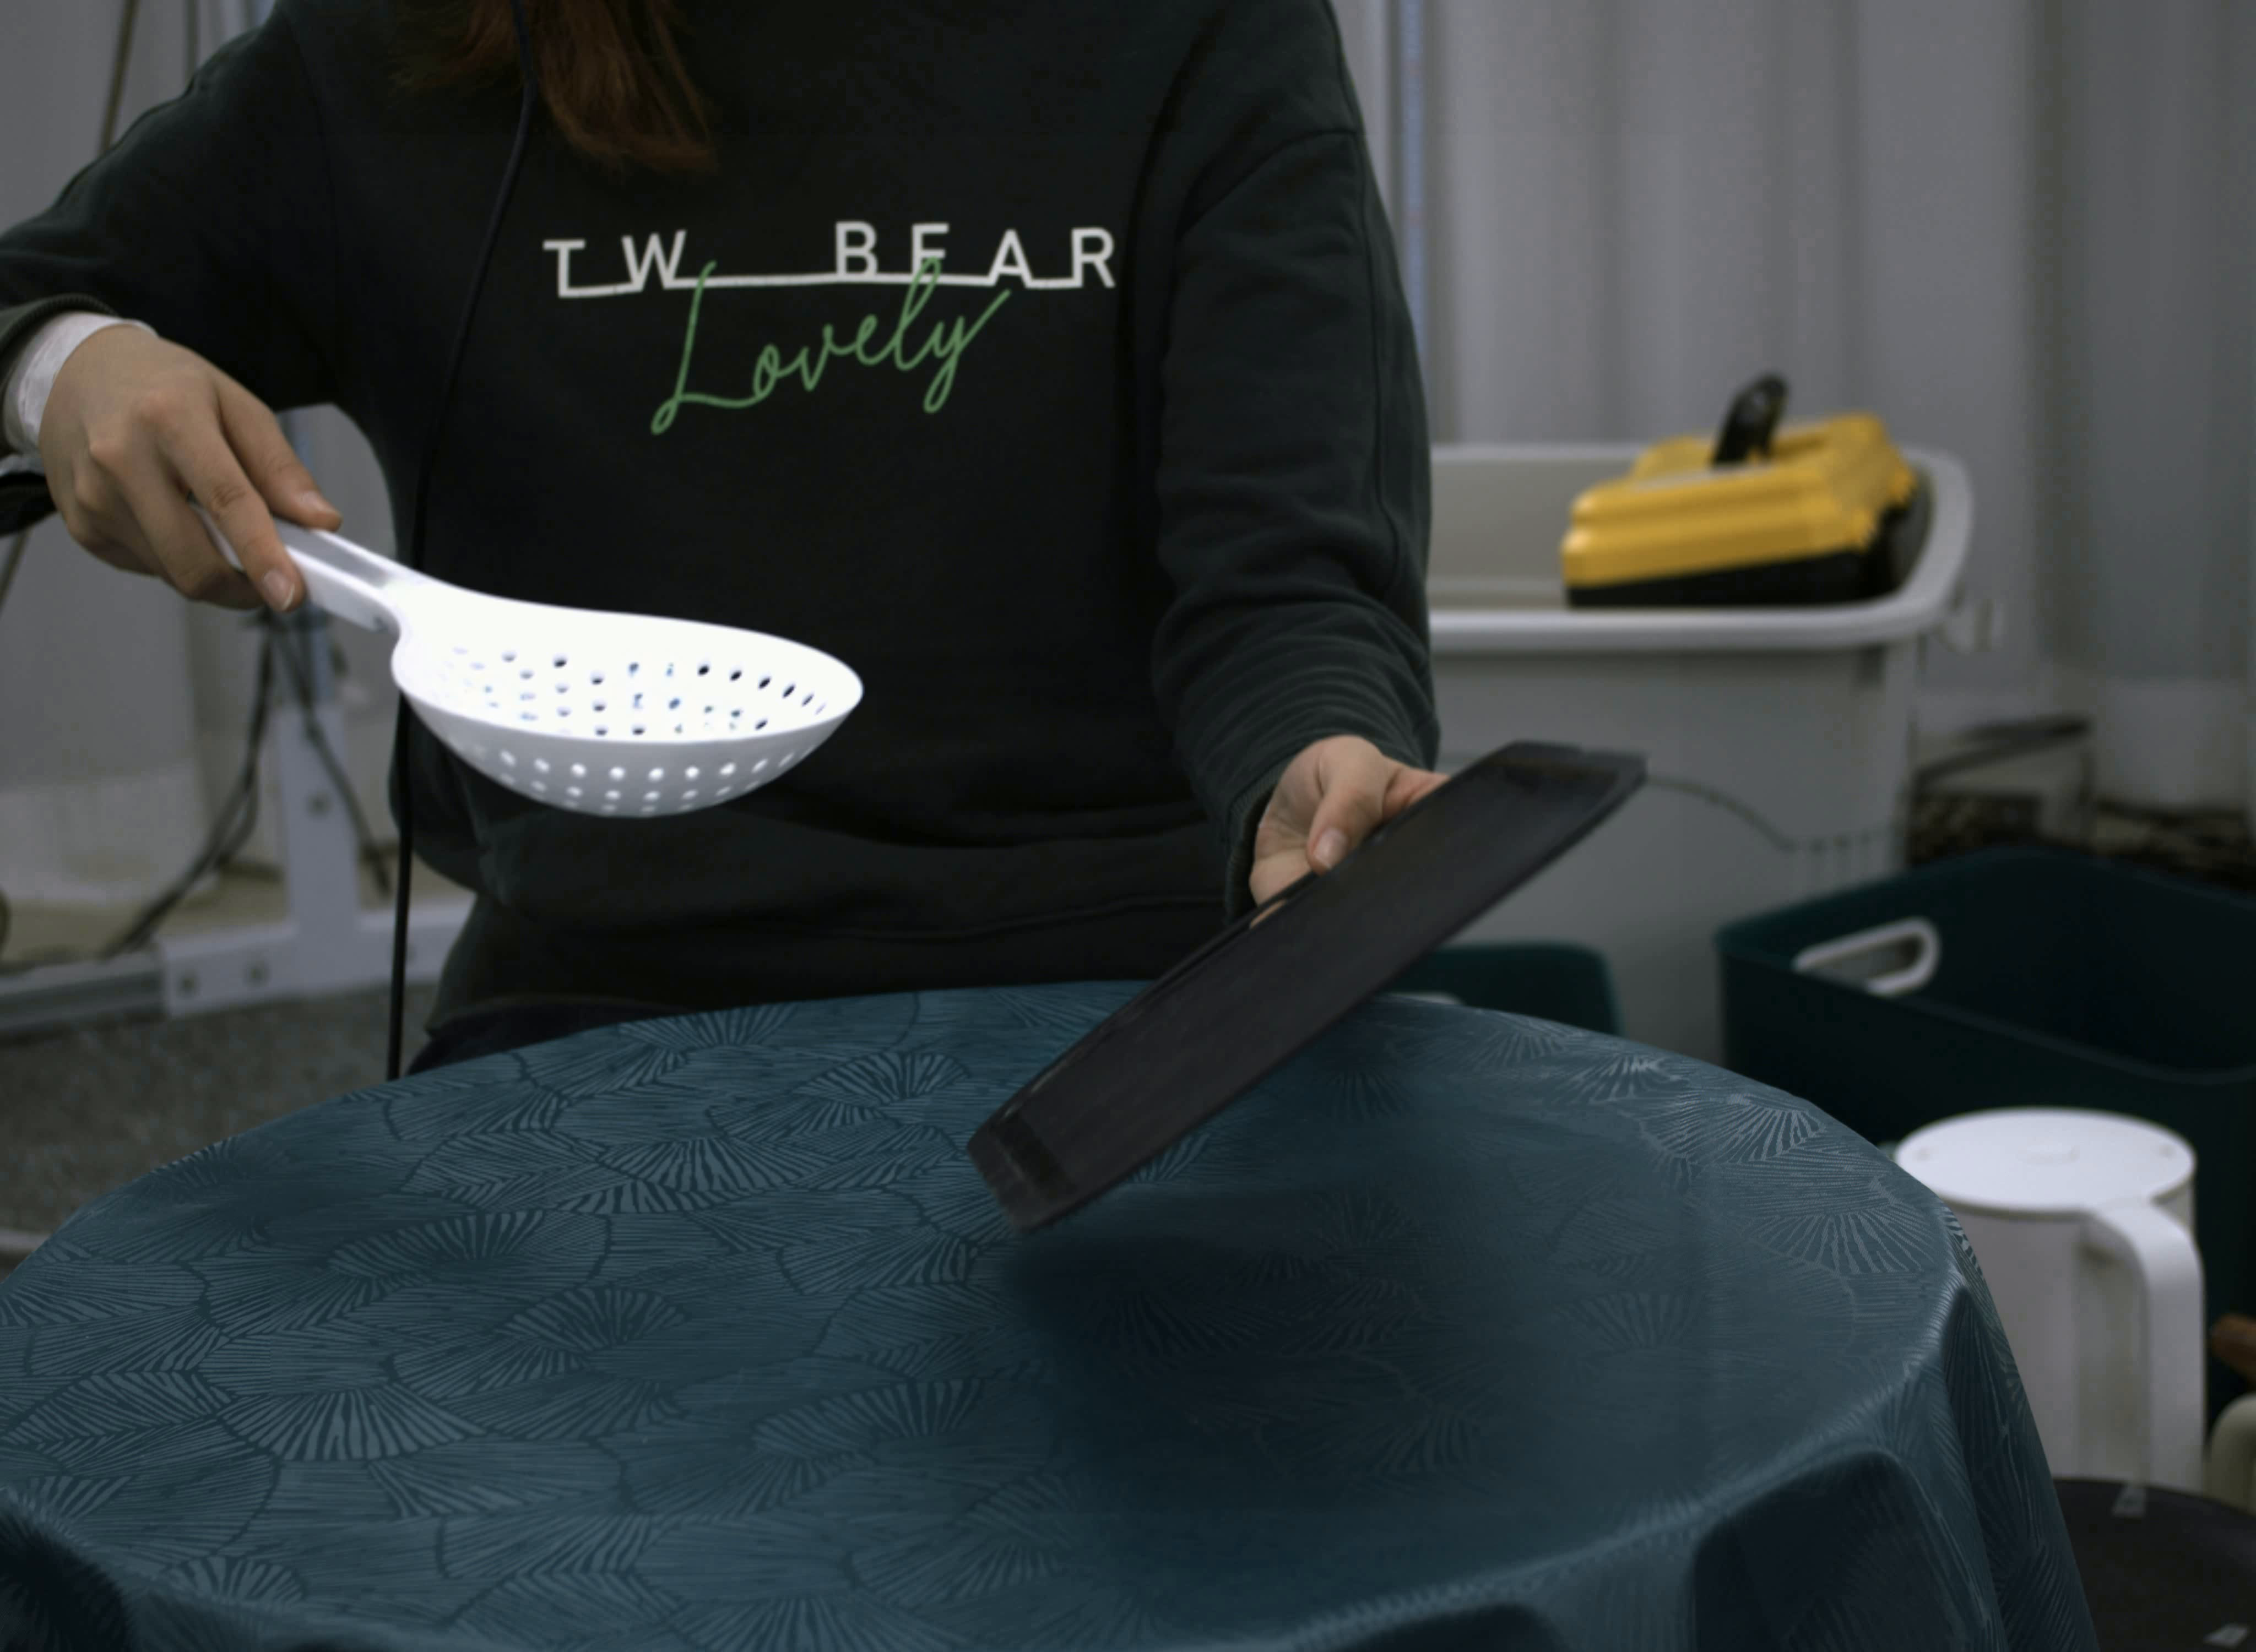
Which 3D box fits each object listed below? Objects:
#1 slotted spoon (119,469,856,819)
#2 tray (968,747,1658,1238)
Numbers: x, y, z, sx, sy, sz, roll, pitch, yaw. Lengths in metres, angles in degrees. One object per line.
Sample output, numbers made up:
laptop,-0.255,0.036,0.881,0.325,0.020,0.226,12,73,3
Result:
slotted spoon,-0.215,-0.064,1.677,0.135,0.045,0.353,-7,24,-38
tray,0.044,0.042,1.554,0.211,0.010,0.326,-36,5,-3
